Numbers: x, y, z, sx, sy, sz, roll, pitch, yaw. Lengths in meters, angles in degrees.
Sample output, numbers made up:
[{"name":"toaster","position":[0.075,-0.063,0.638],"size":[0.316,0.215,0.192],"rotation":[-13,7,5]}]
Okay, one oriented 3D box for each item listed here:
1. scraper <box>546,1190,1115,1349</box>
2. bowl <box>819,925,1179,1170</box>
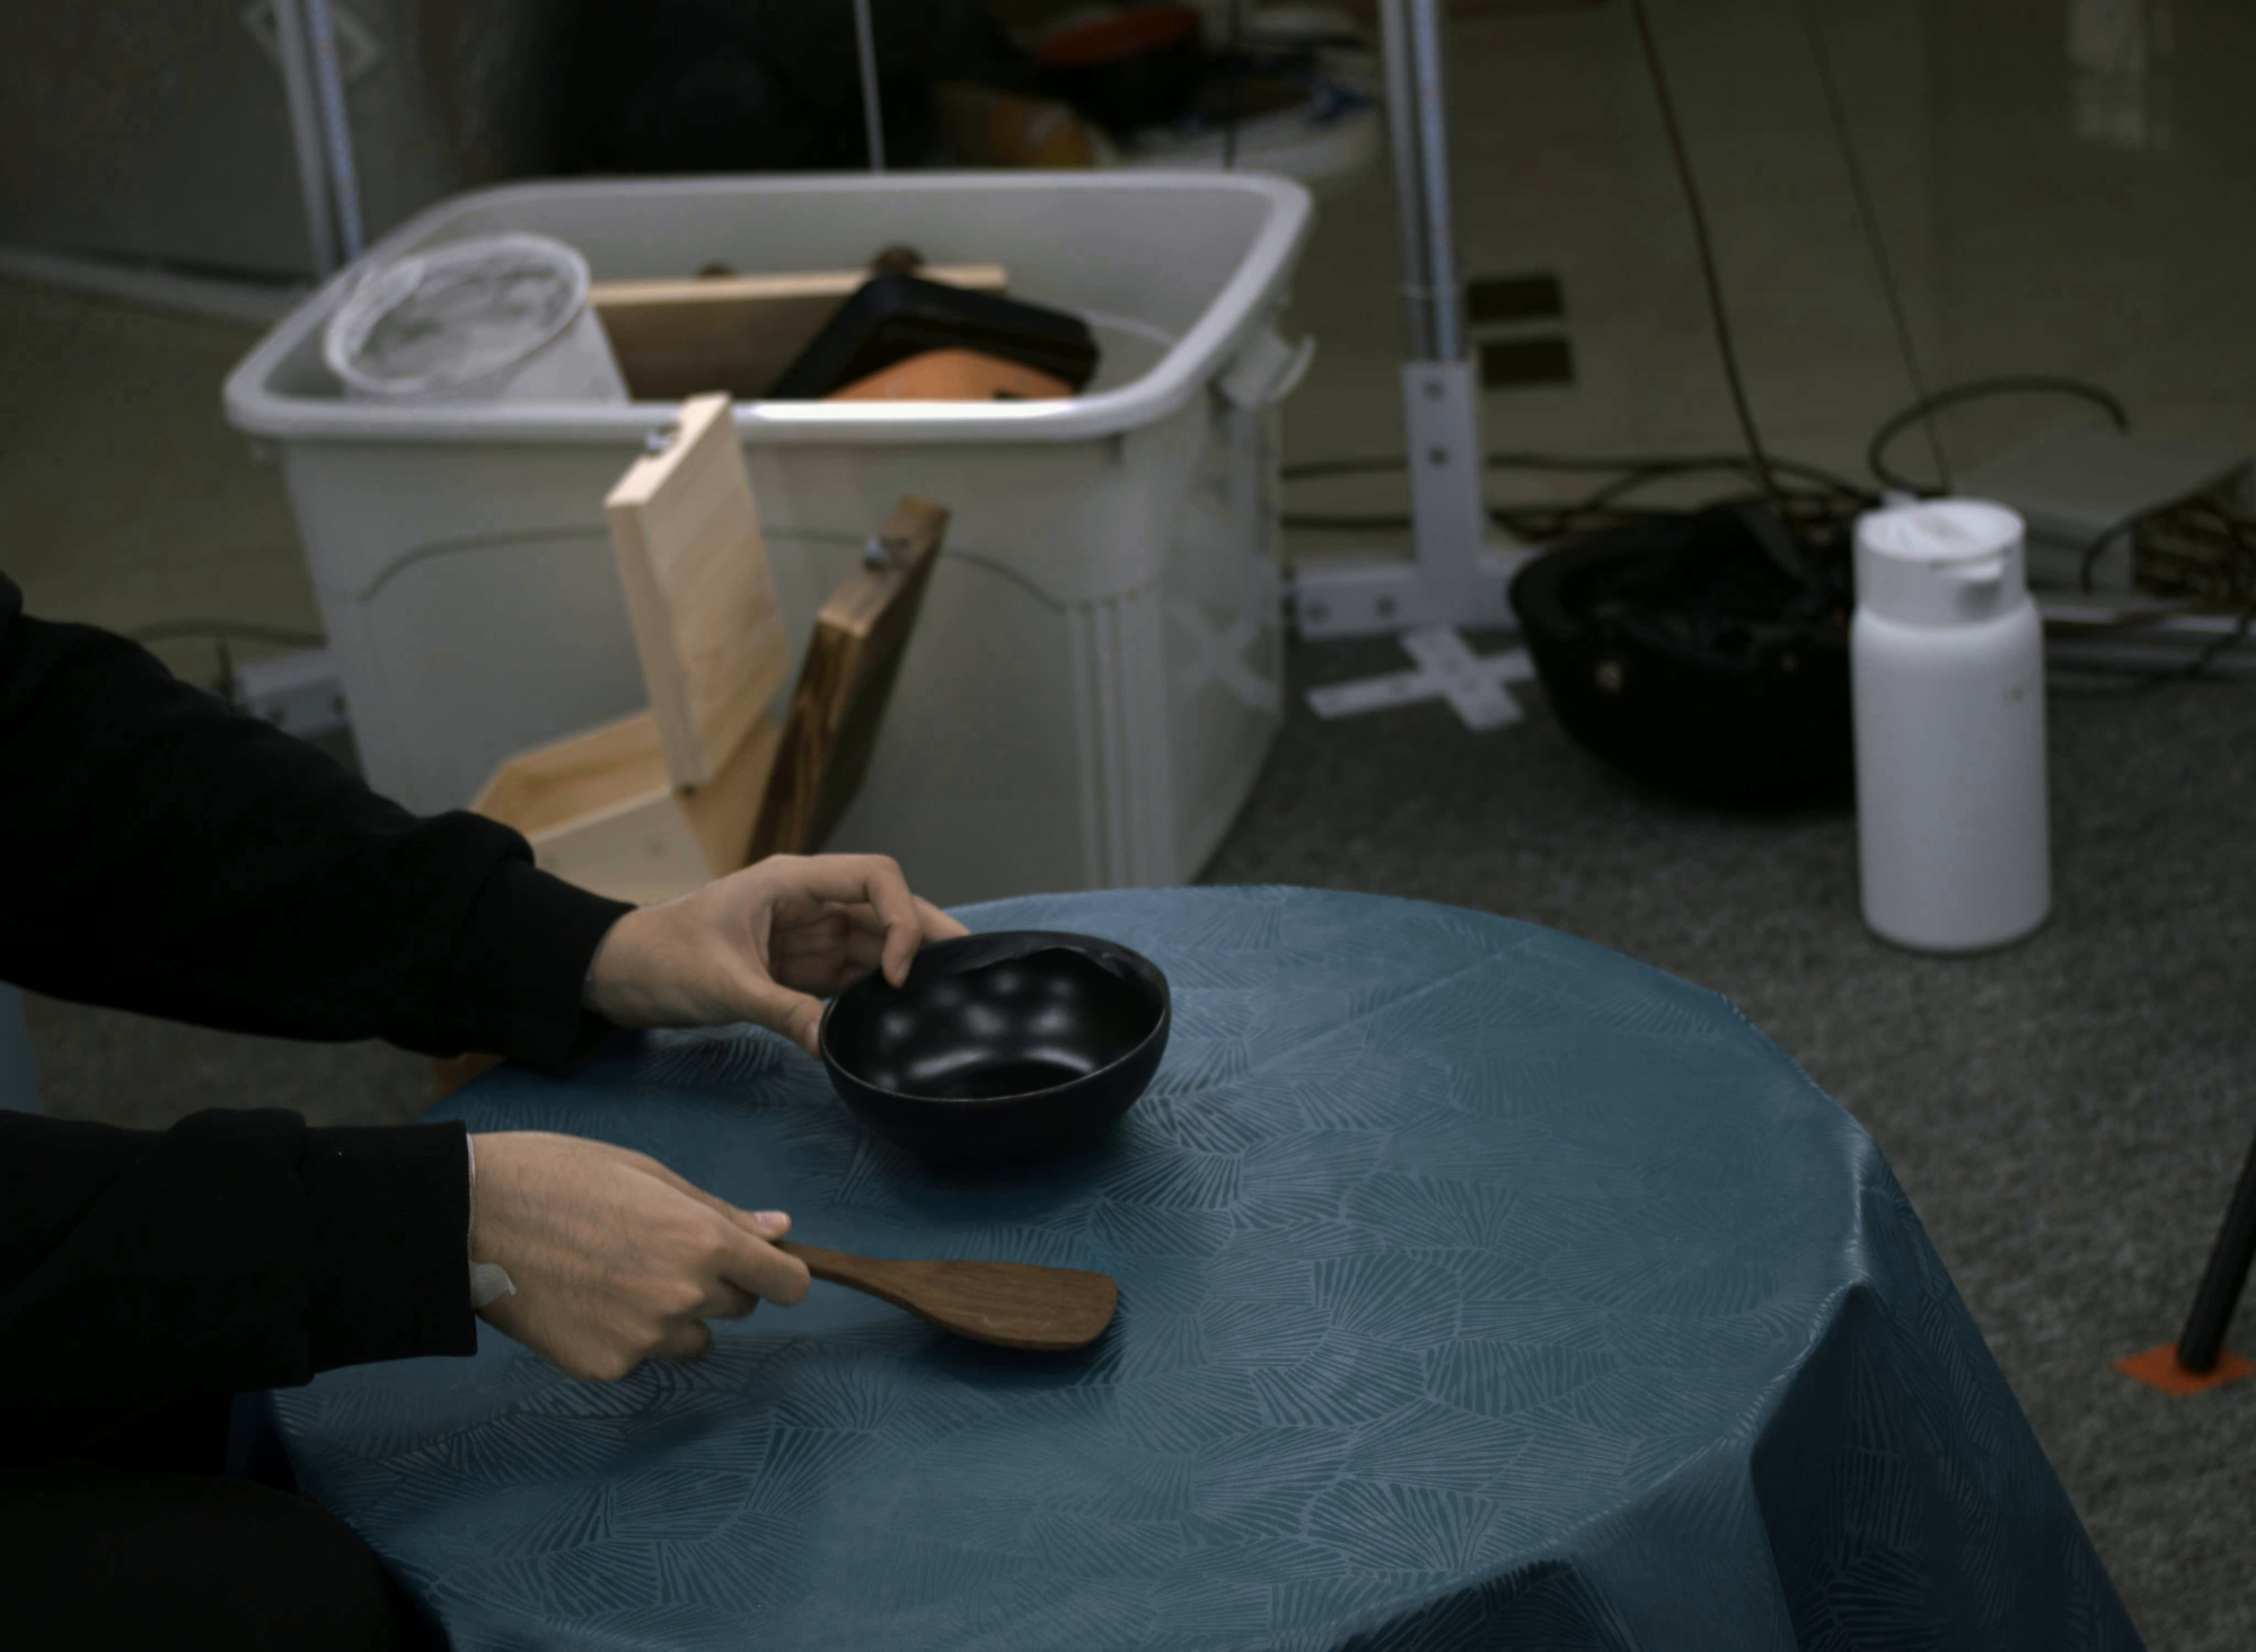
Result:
[{"name":"scraper","position":[-0.109,0.159,2.066],"size":[0.211,0.011,0.075],"rotation":[12,16,4]},{"name":"bowl","position":[-0.048,0.094,2.202],"size":[0.140,0.050,0.138],"rotation":[-5,30,3]}]
